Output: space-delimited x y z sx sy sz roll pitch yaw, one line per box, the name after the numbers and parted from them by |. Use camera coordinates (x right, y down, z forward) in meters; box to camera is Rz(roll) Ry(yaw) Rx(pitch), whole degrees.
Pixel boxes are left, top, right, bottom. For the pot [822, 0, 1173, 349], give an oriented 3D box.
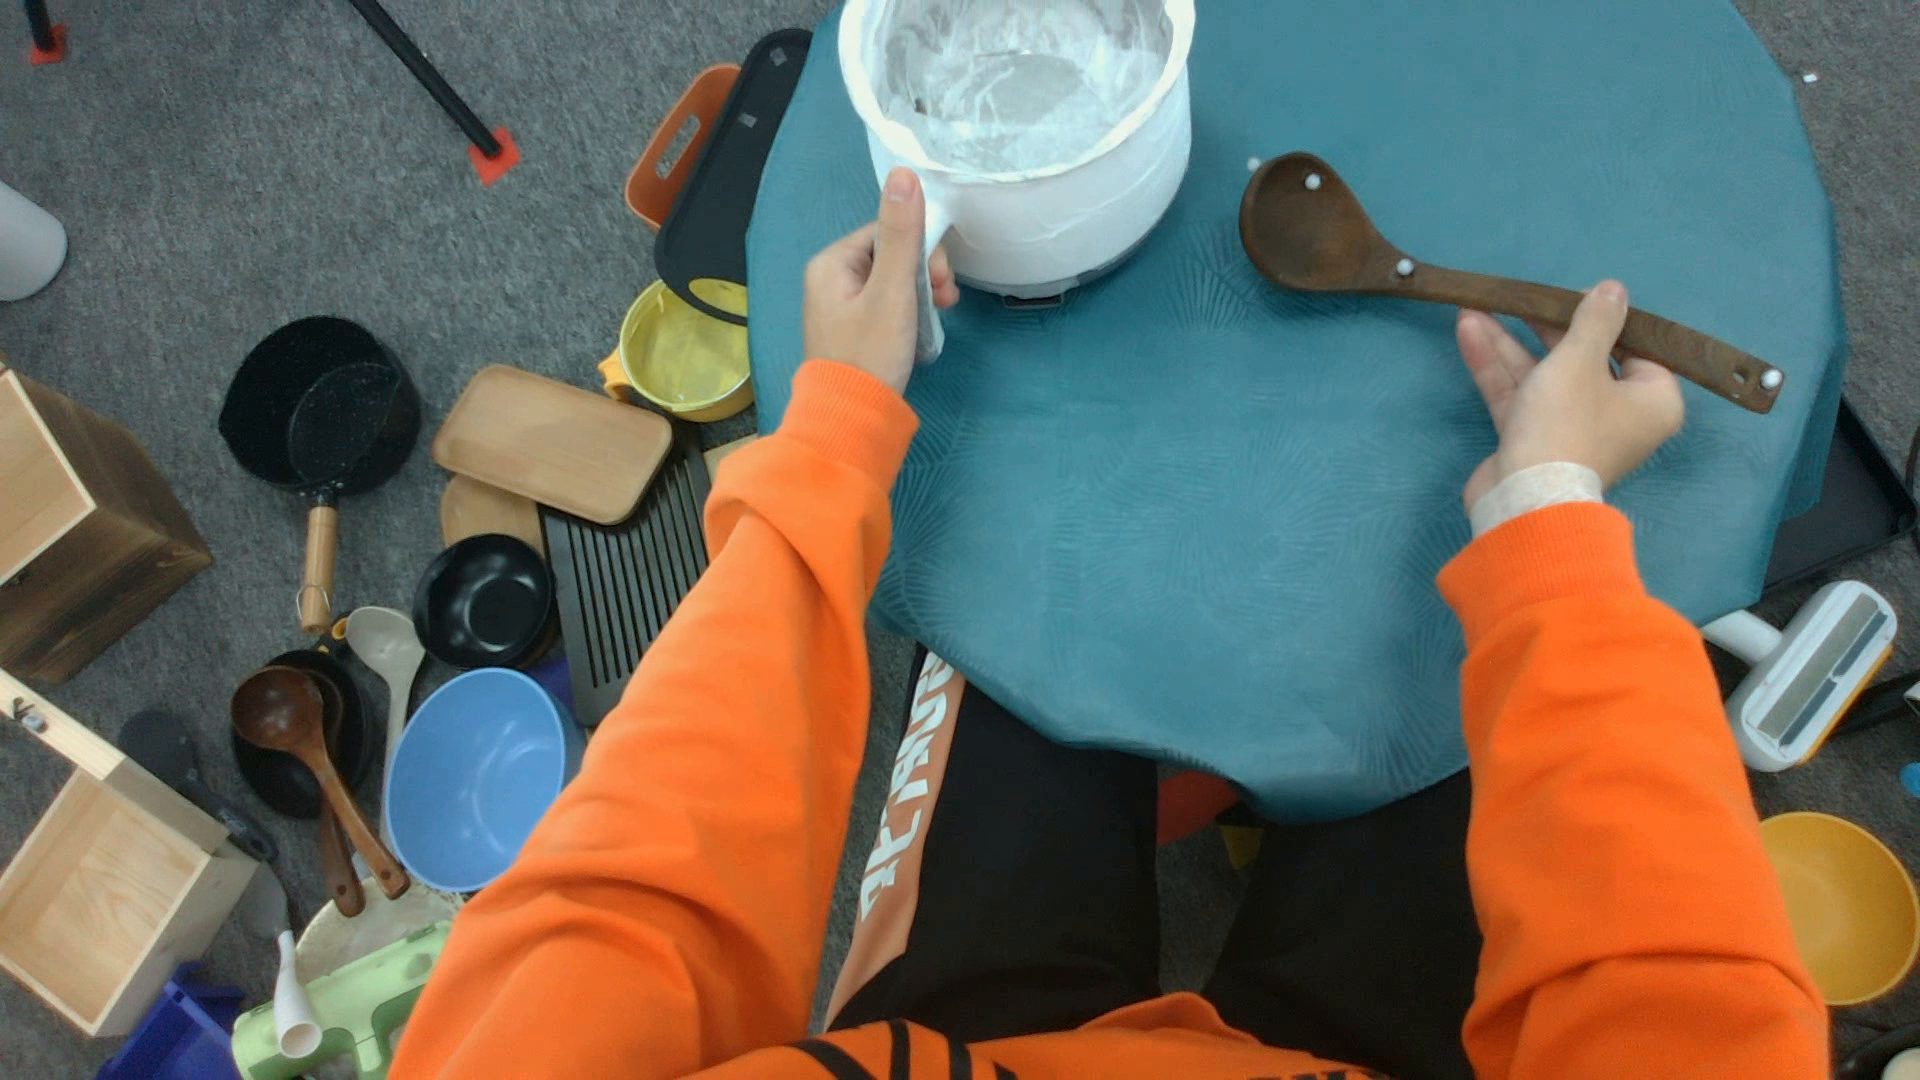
0.013 -0.219 0.739 0.178 0.136 0.234 26 77 16 | pot

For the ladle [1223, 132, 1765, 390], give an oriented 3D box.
0.264 -0.142 0.697 0.274 0.071 0.076 24 77 28 | ladle
